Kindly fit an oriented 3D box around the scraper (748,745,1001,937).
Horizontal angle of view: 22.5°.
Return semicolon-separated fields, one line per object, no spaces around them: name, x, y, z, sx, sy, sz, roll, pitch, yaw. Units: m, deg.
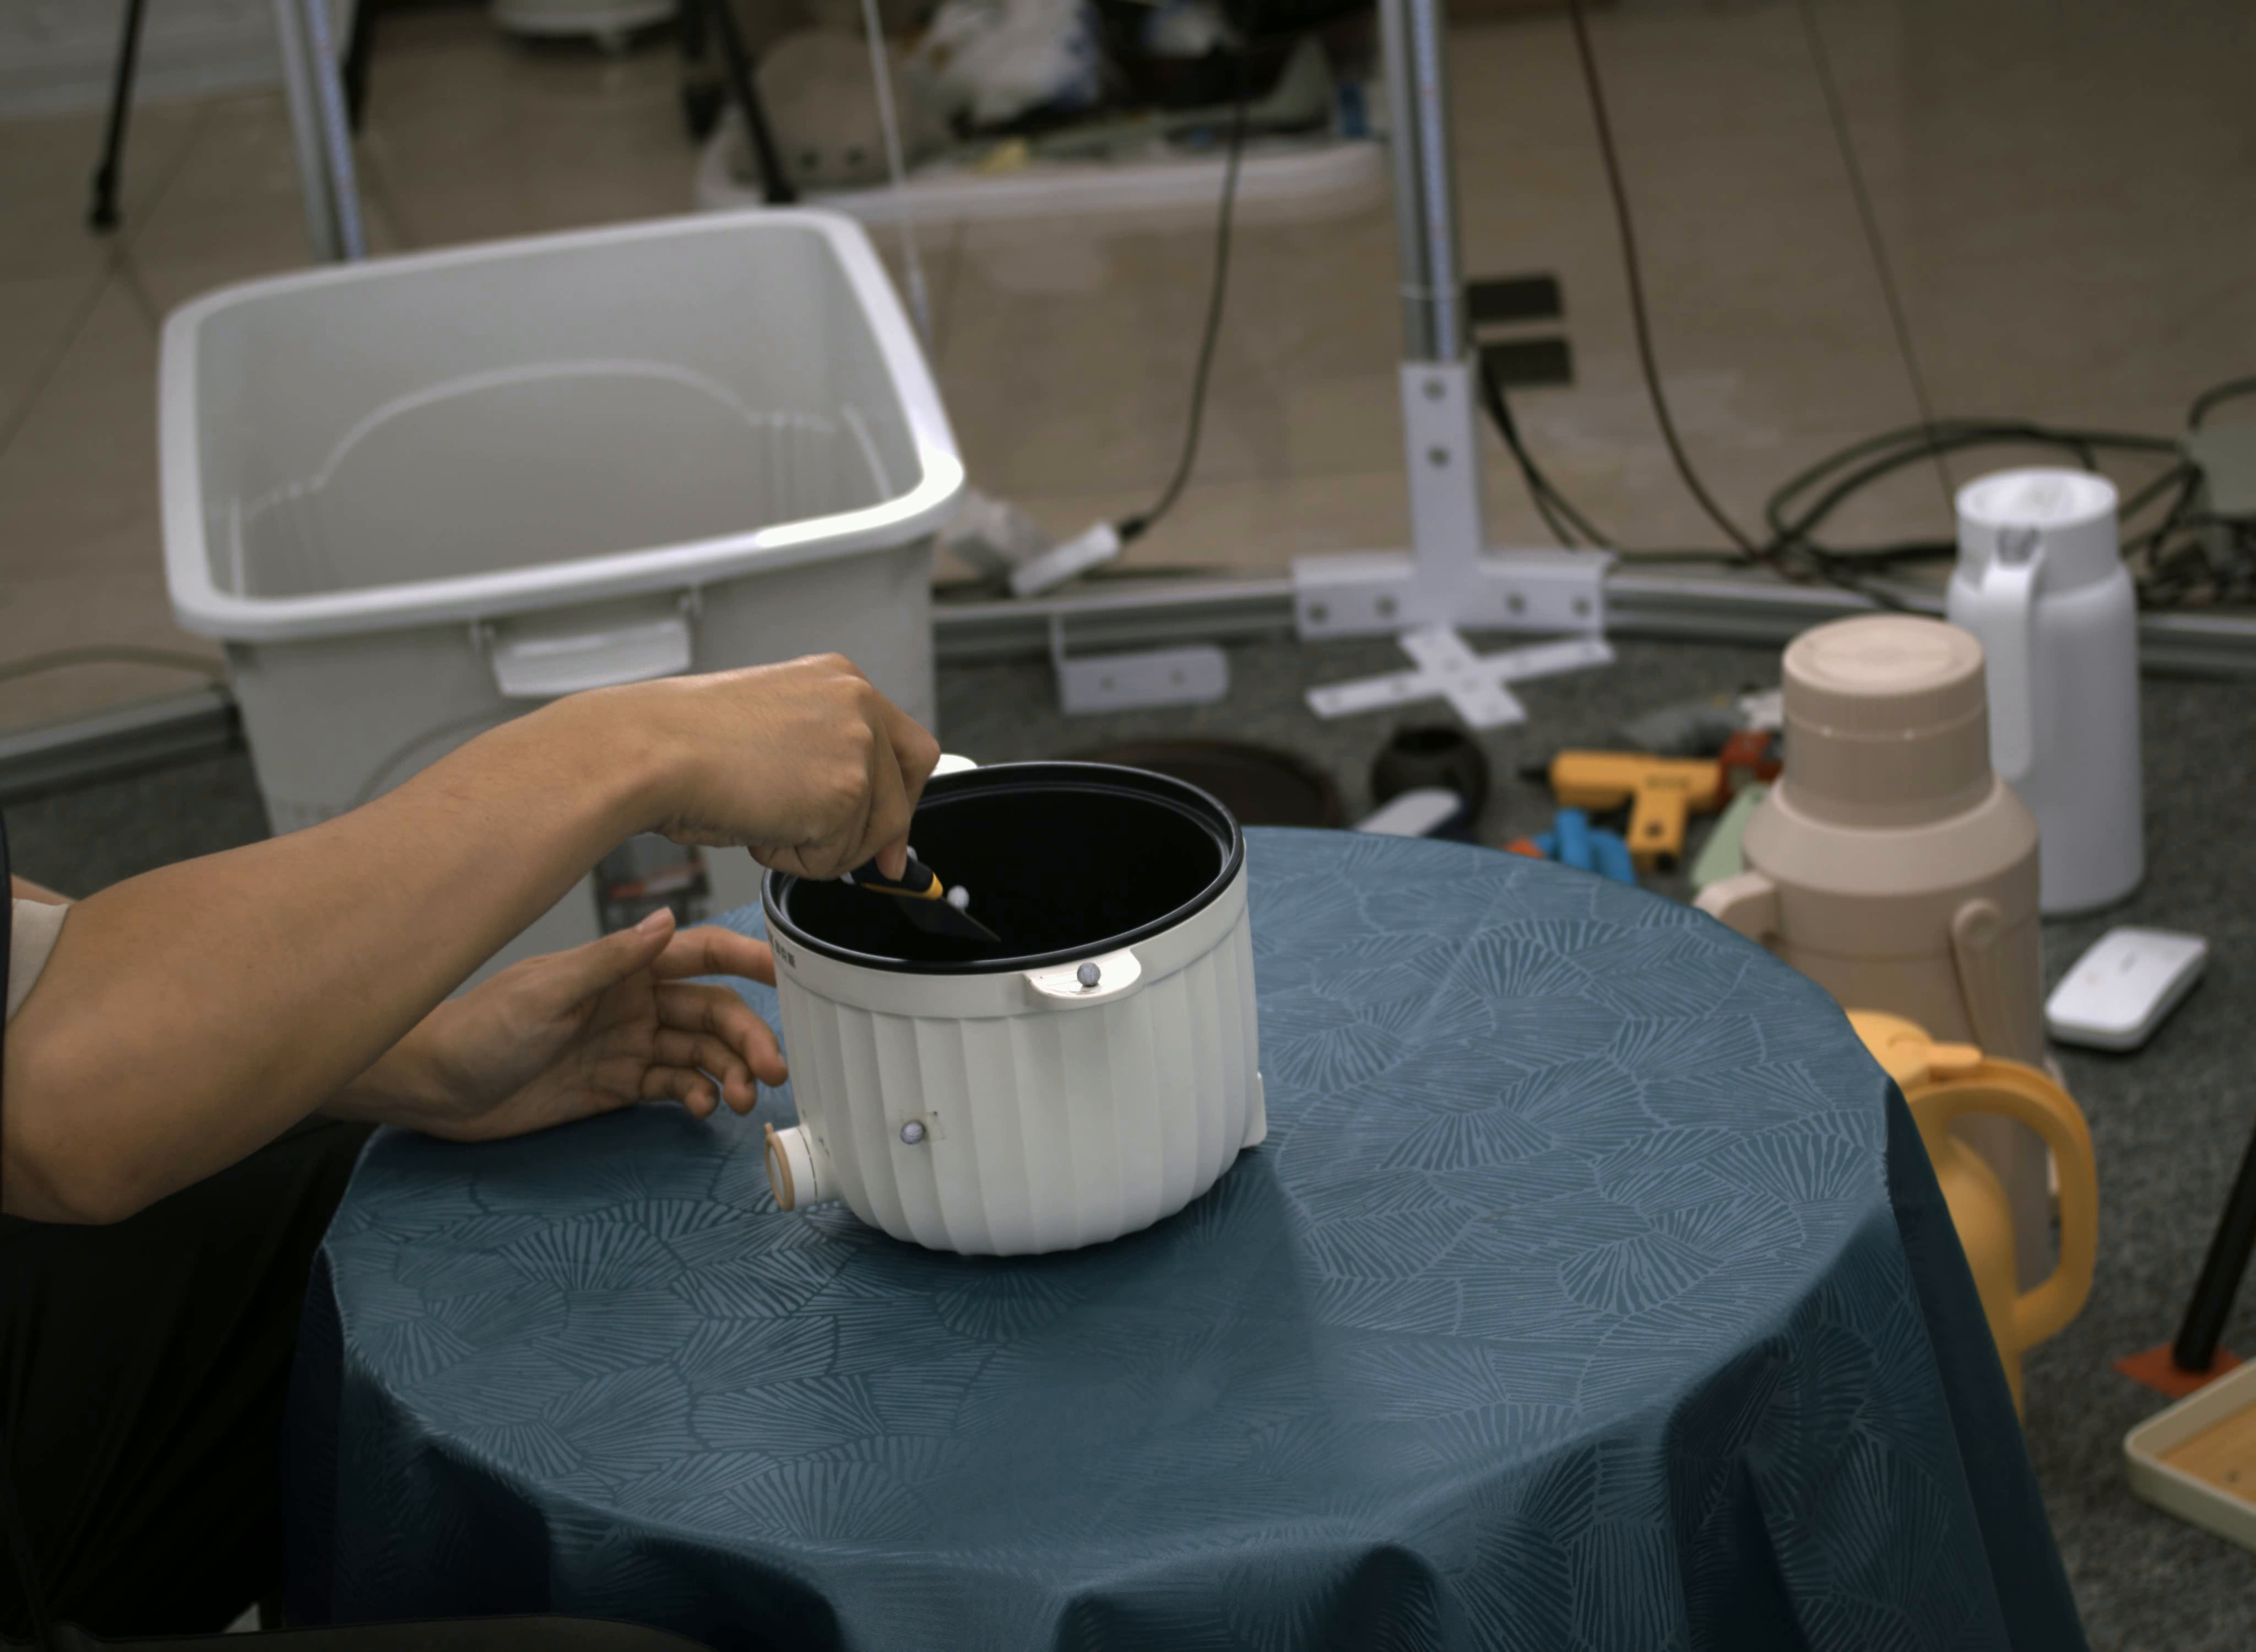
scraper;-0.091;0.007;2.003;0.038;0.173;0.015;14;75;26

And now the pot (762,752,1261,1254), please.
pot;-0.045;0.074;2.135;0.190;0.145;0.237;-9;24;-17
